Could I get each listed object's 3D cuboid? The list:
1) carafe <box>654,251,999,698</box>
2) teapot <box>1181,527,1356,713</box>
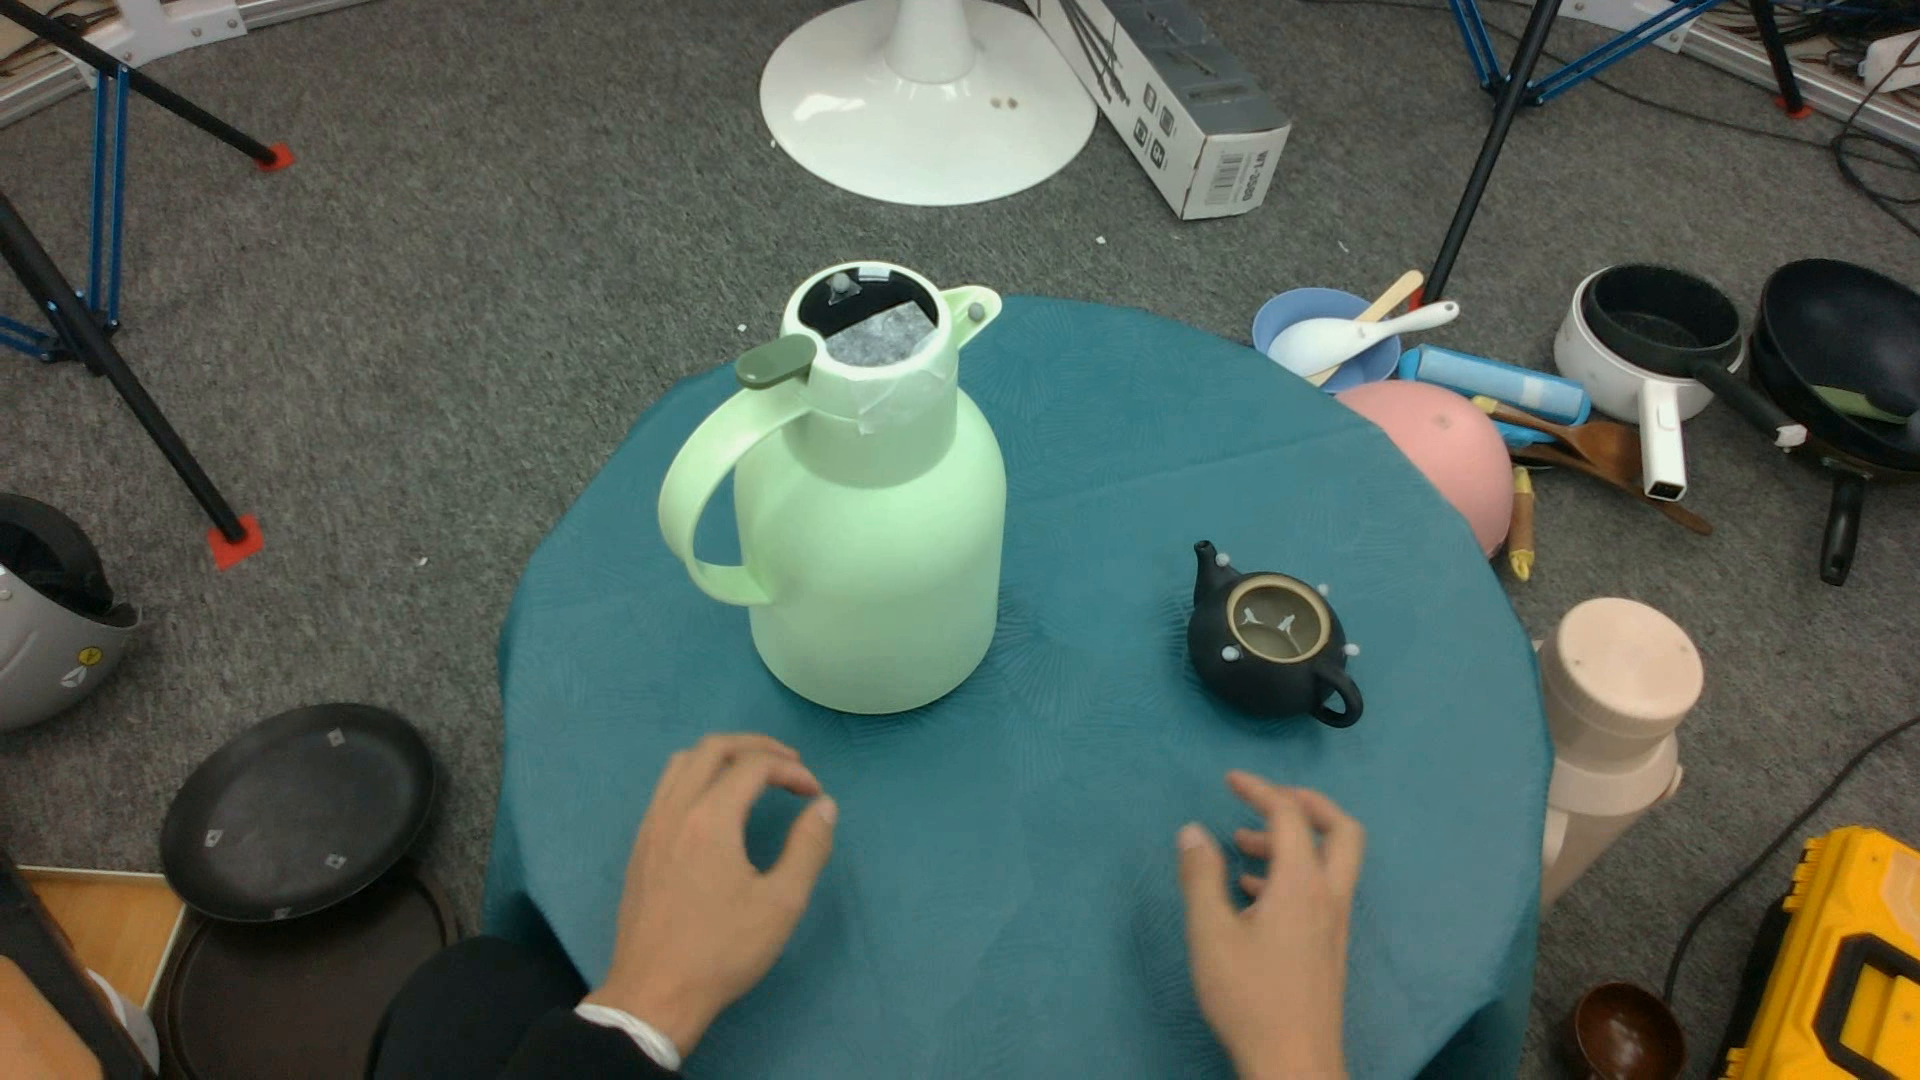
[{"bbox_3d":[-0.062,-0.027,0.709,0.187,0.255,0.144,-32,63,-19],"label":"carafe"},{"bbox_3d":[0.173,0.050,0.787,0.091,0.053,0.133,-32,61,-21],"label":"teapot"}]
